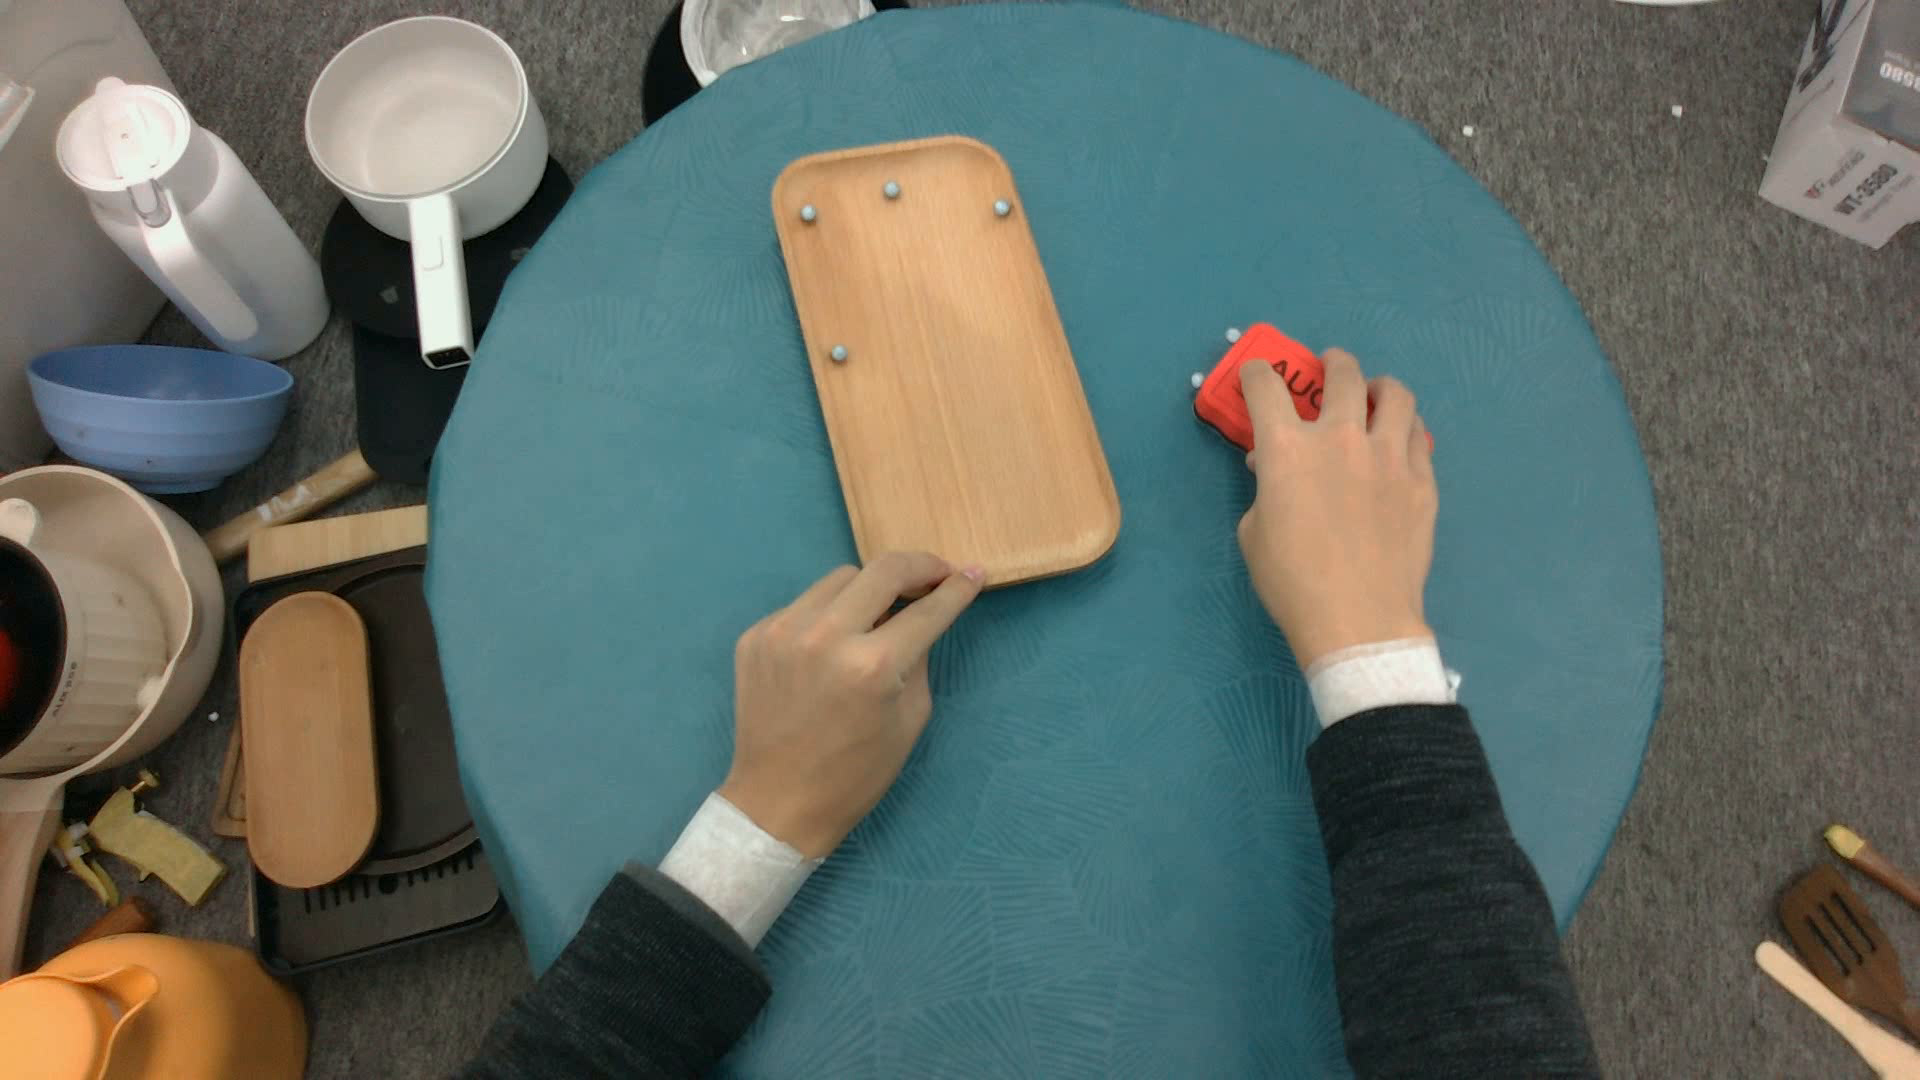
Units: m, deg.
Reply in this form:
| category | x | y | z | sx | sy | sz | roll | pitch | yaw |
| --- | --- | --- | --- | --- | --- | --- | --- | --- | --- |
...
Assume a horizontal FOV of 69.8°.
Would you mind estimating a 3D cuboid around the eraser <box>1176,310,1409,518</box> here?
| category | x | y | z | sx | sy | sz | roll | pitch | yaw |
| --- | --- | --- | --- | --- | --- | --- | --- | --- | --- |
| eraser | 0.165 | -0.063 | 0.687 | 0.108 | 0.023 | 0.059 | 38 | 73 | 10 |

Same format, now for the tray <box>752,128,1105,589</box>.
| category | x | y | z | sx | sy | sz | roll | pitch | yaw |
| --- | --- | --- | --- | --- | --- | --- | --- | --- | --- |
| tray | -0.019 | -0.096 | 0.680 | 0.131 | 0.023 | 0.251 | -12 | 69 | -9 |
